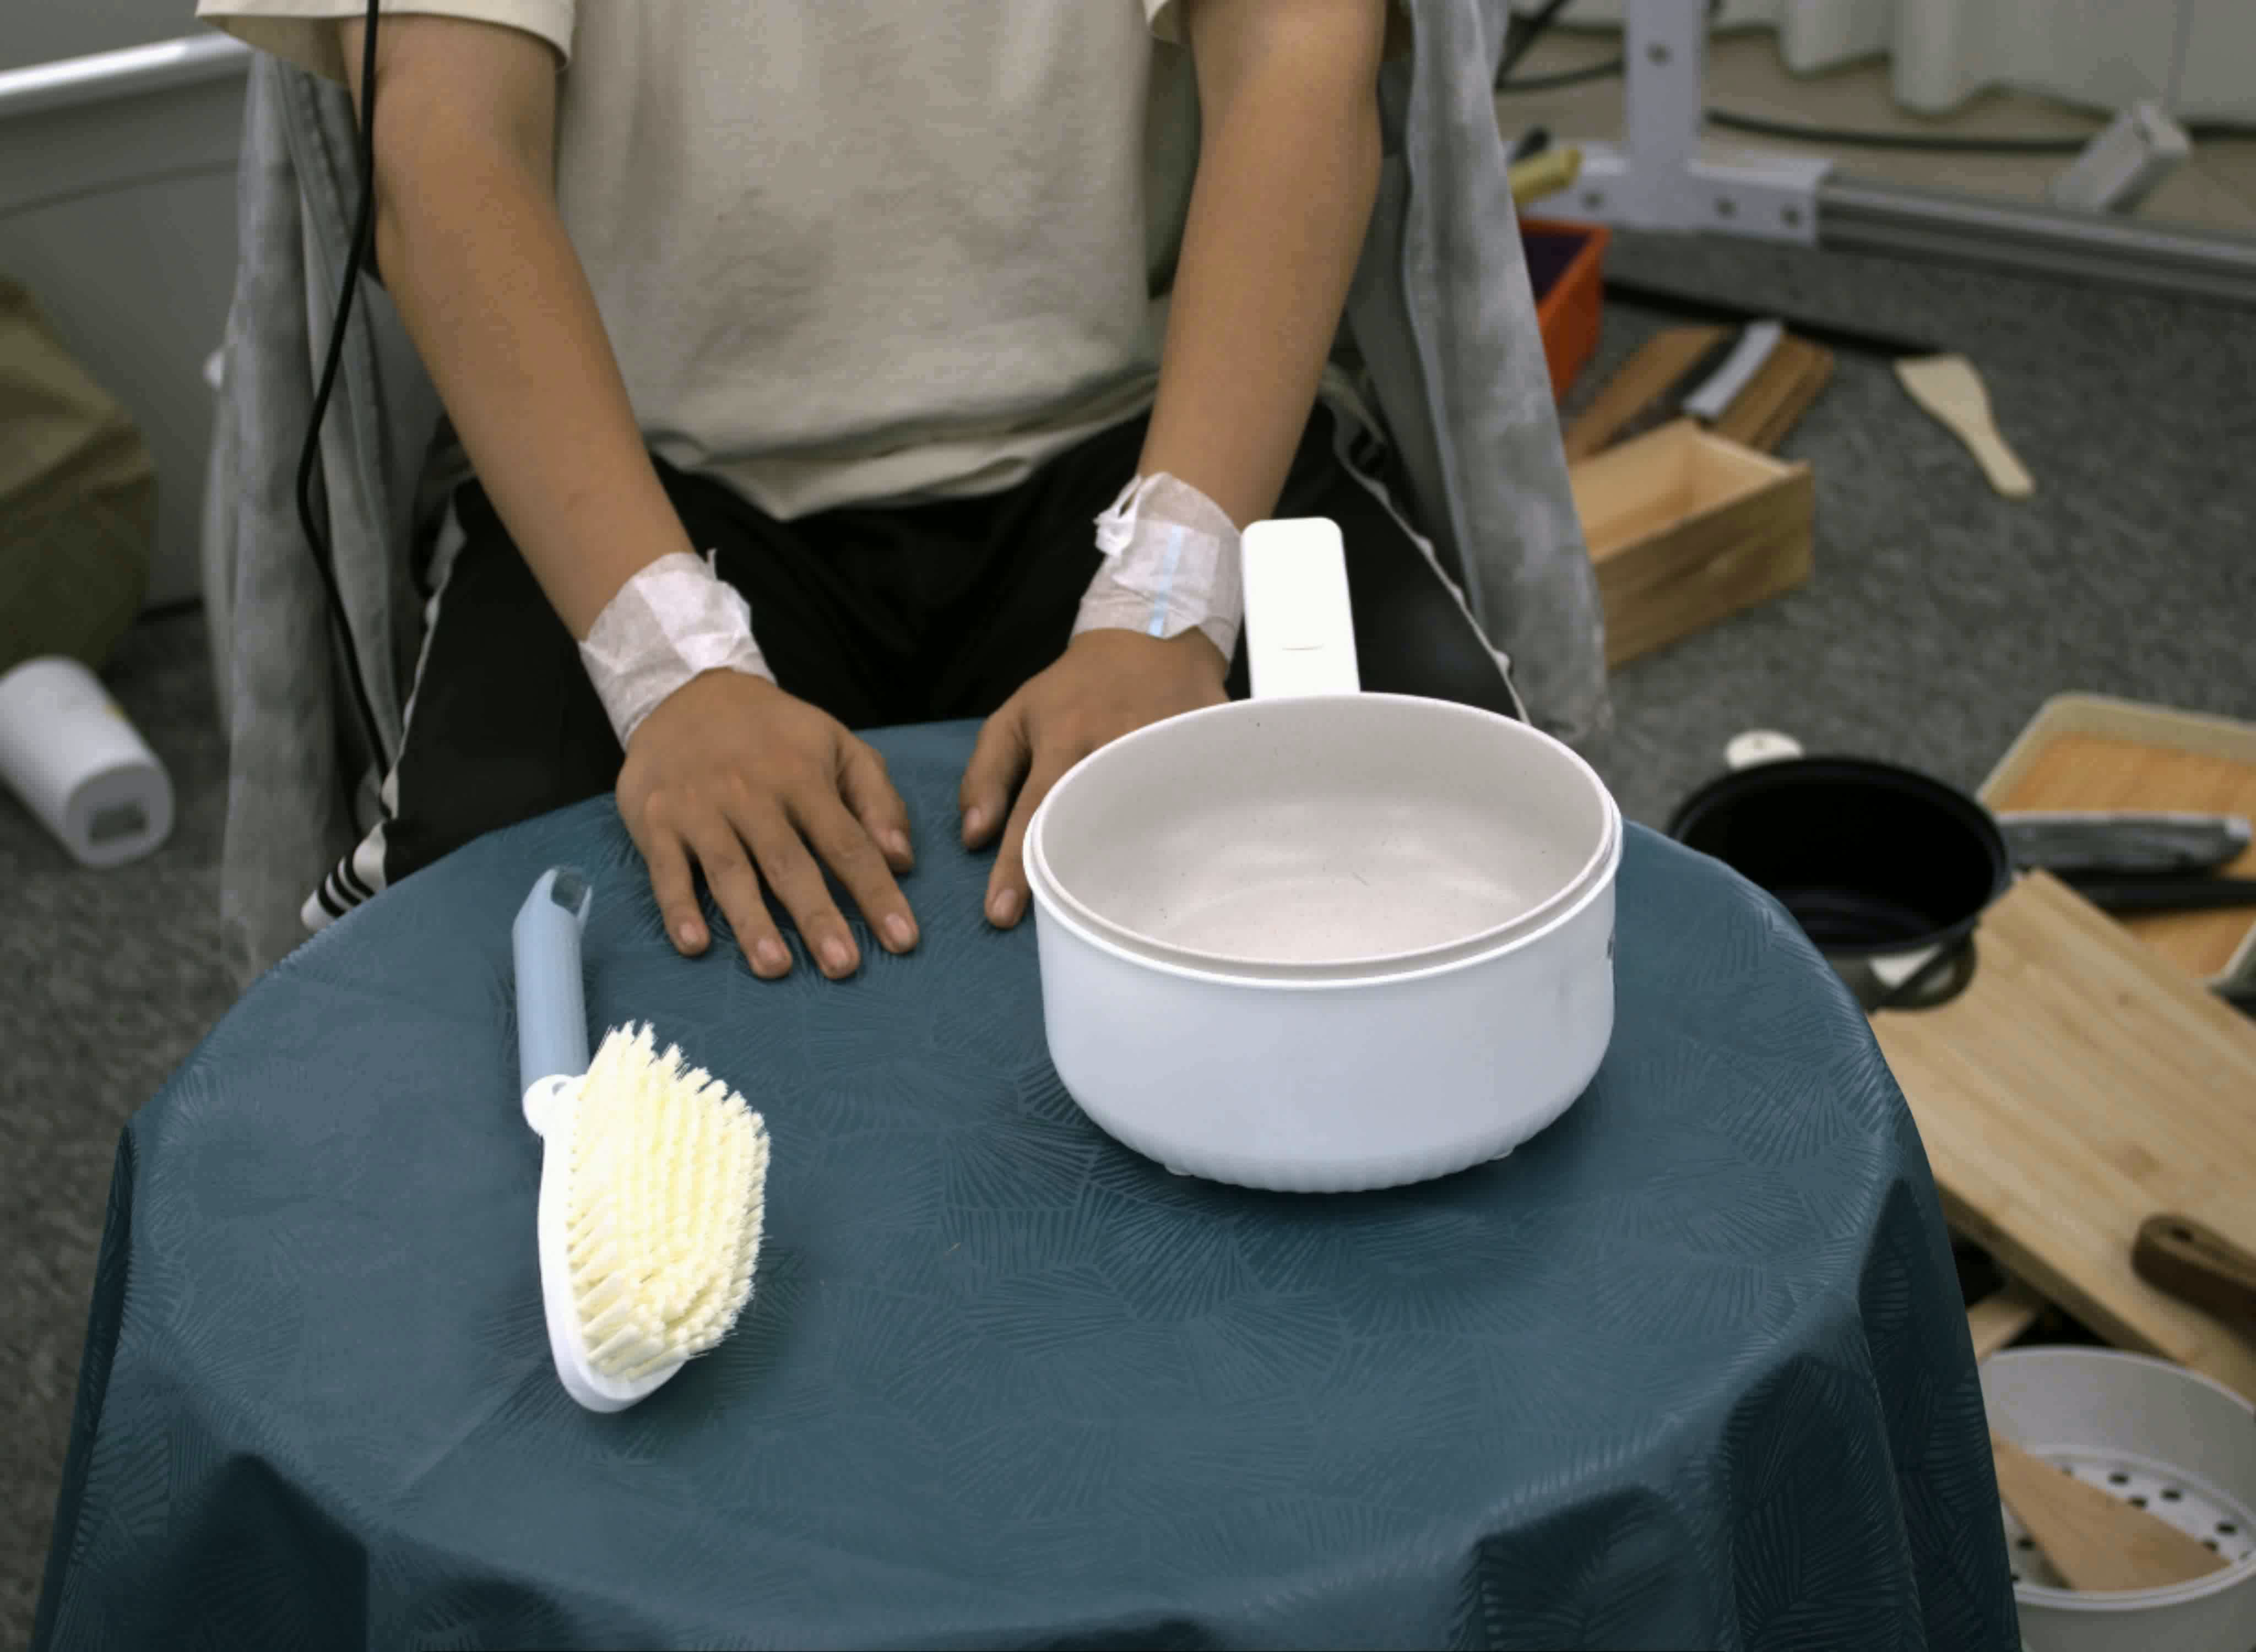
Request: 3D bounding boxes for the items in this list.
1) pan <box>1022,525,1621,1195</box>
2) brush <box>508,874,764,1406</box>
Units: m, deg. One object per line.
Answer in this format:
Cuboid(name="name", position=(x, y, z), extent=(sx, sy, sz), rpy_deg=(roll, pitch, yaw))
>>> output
Cuboid(name="pan", position=(0.066, 0.009, 1.968), extent=(0.200, 0.101, 0.360), rpy_deg=(-3, 26, 0))
Cuboid(name="brush", position=(-0.168, 0.077, 1.875), extent=(0.084, 0.082, 0.330), rpy_deg=(-11, 28, -2))
